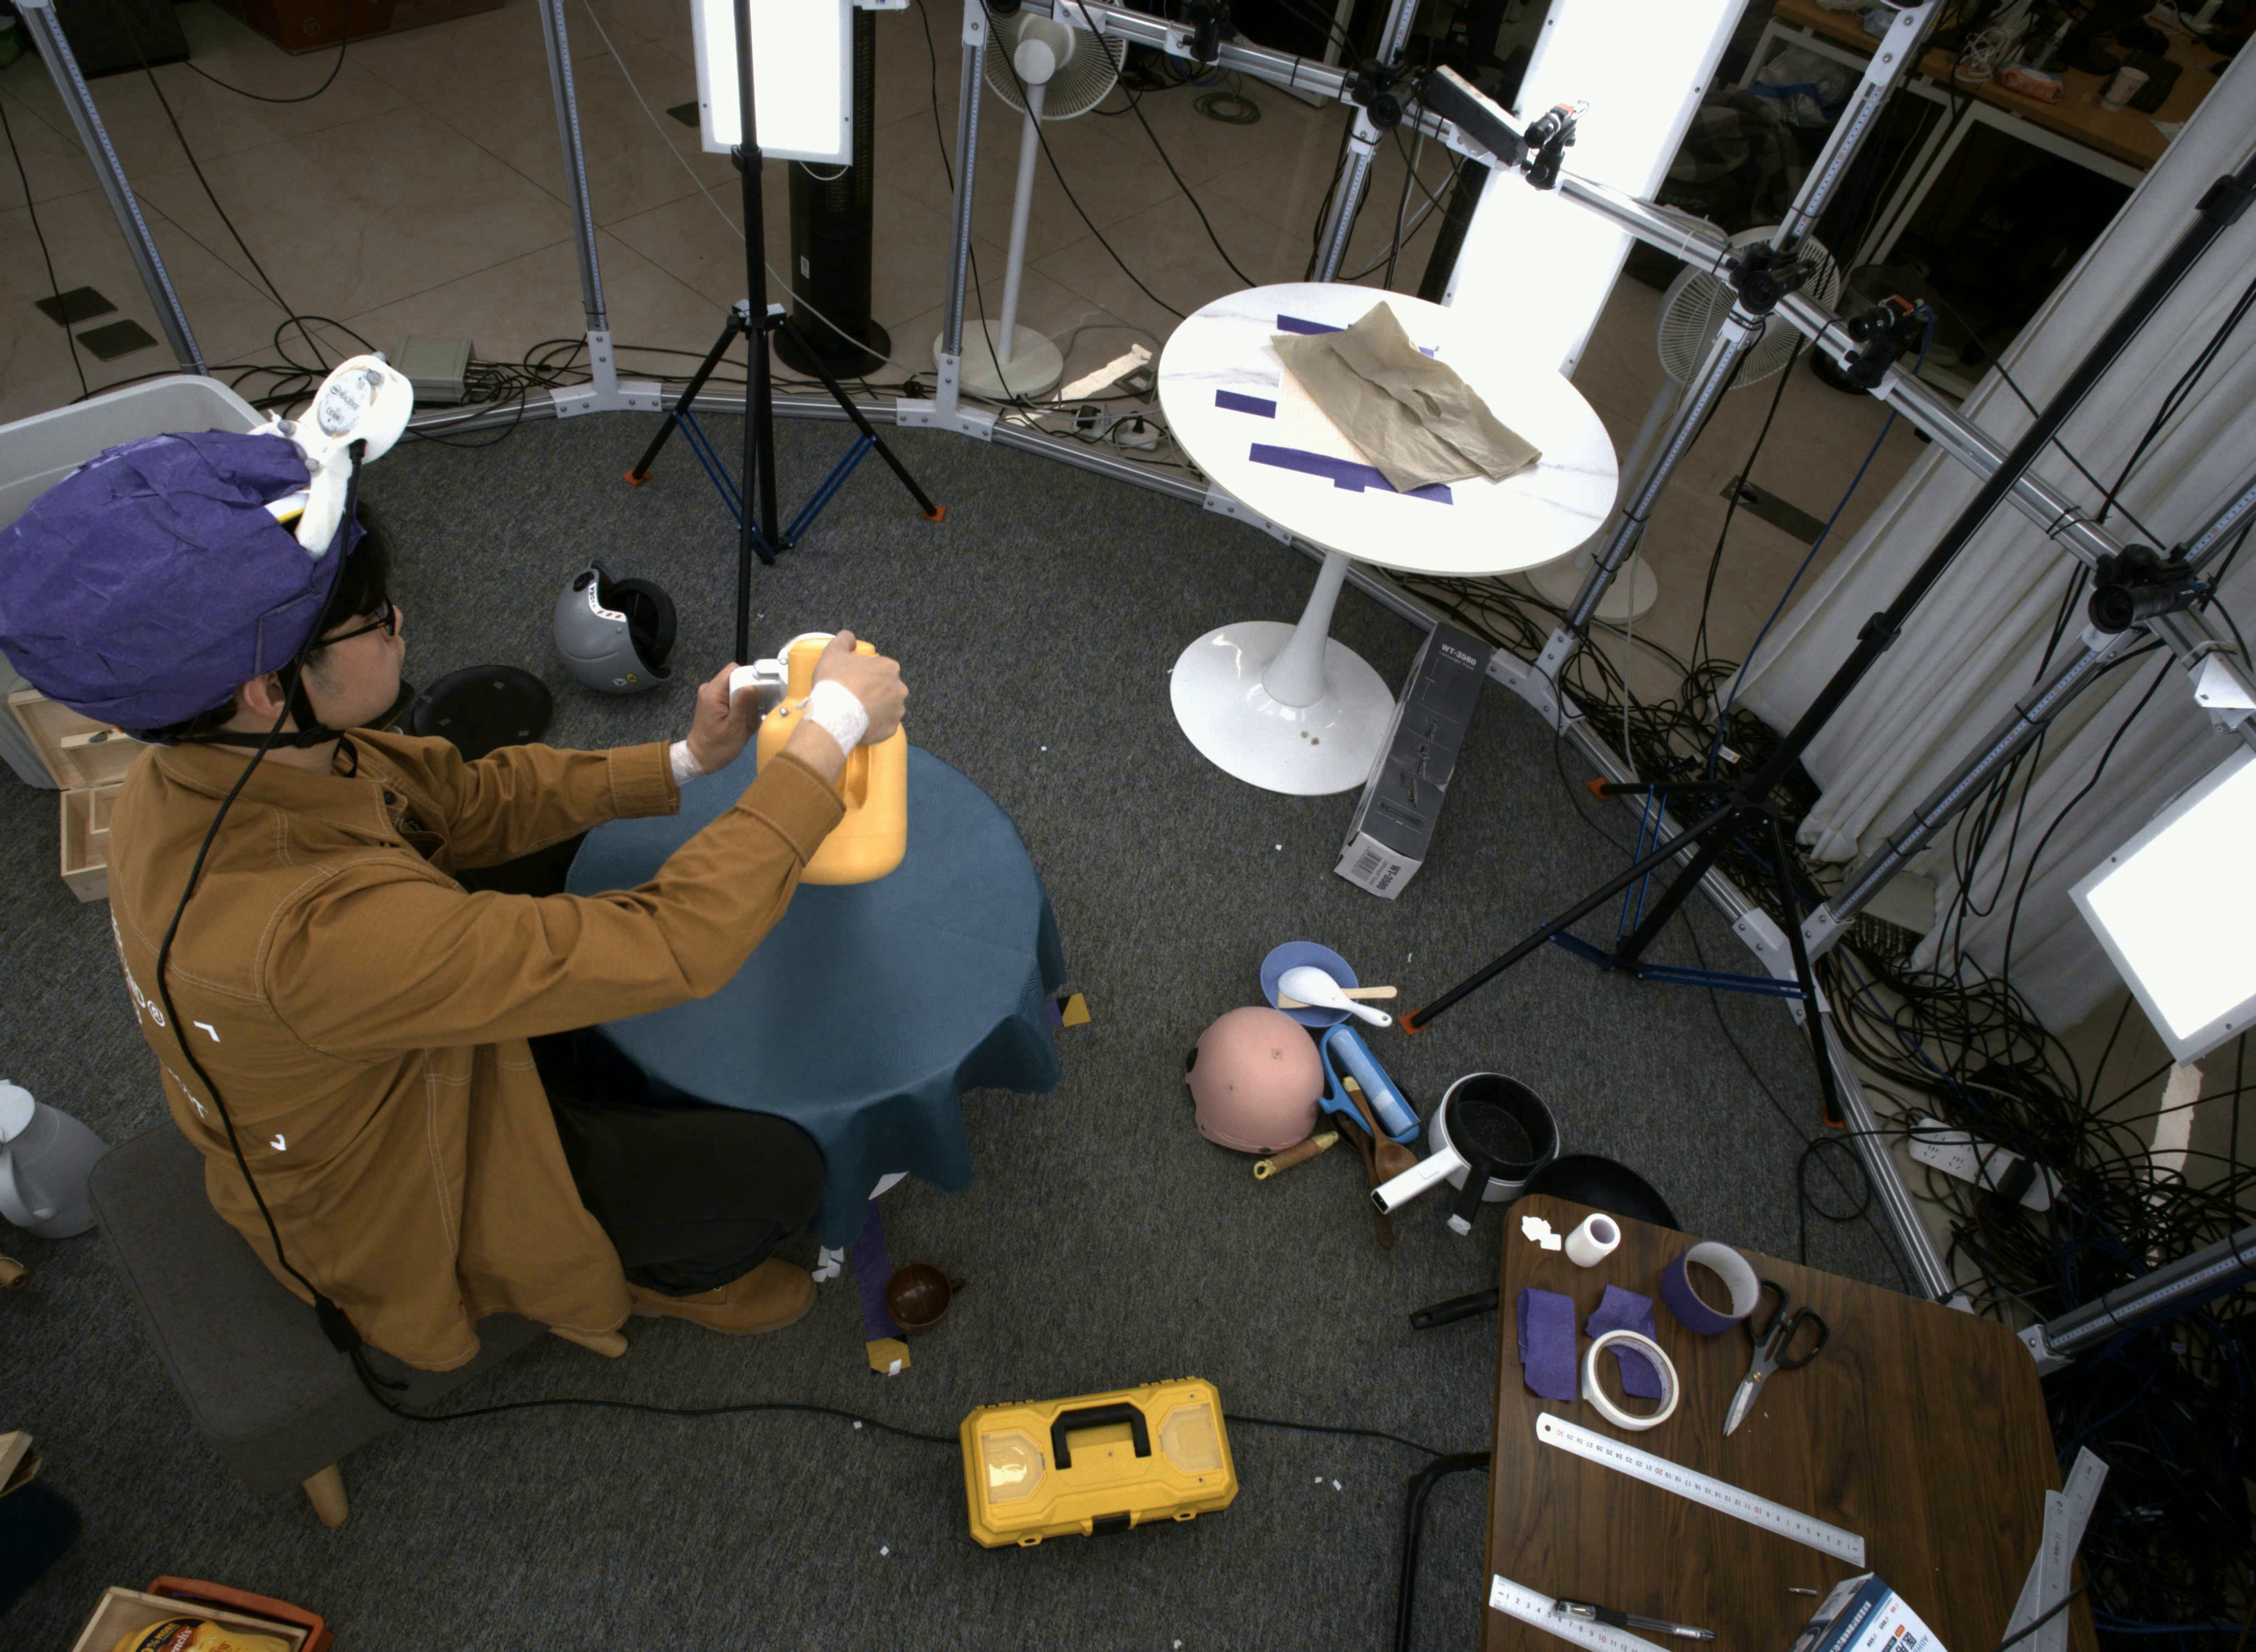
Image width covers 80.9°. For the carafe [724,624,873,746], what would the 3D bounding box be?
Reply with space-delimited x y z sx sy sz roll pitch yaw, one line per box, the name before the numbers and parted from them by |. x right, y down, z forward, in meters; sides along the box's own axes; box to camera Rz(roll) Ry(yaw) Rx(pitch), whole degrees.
carafe | -0.407 -0.118 1.597 0.173 0.273 0.121 -5 60 -19

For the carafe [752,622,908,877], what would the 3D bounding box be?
carafe | -0.315 -0.081 1.374 0.164 0.266 0.197 -6 11 -22
